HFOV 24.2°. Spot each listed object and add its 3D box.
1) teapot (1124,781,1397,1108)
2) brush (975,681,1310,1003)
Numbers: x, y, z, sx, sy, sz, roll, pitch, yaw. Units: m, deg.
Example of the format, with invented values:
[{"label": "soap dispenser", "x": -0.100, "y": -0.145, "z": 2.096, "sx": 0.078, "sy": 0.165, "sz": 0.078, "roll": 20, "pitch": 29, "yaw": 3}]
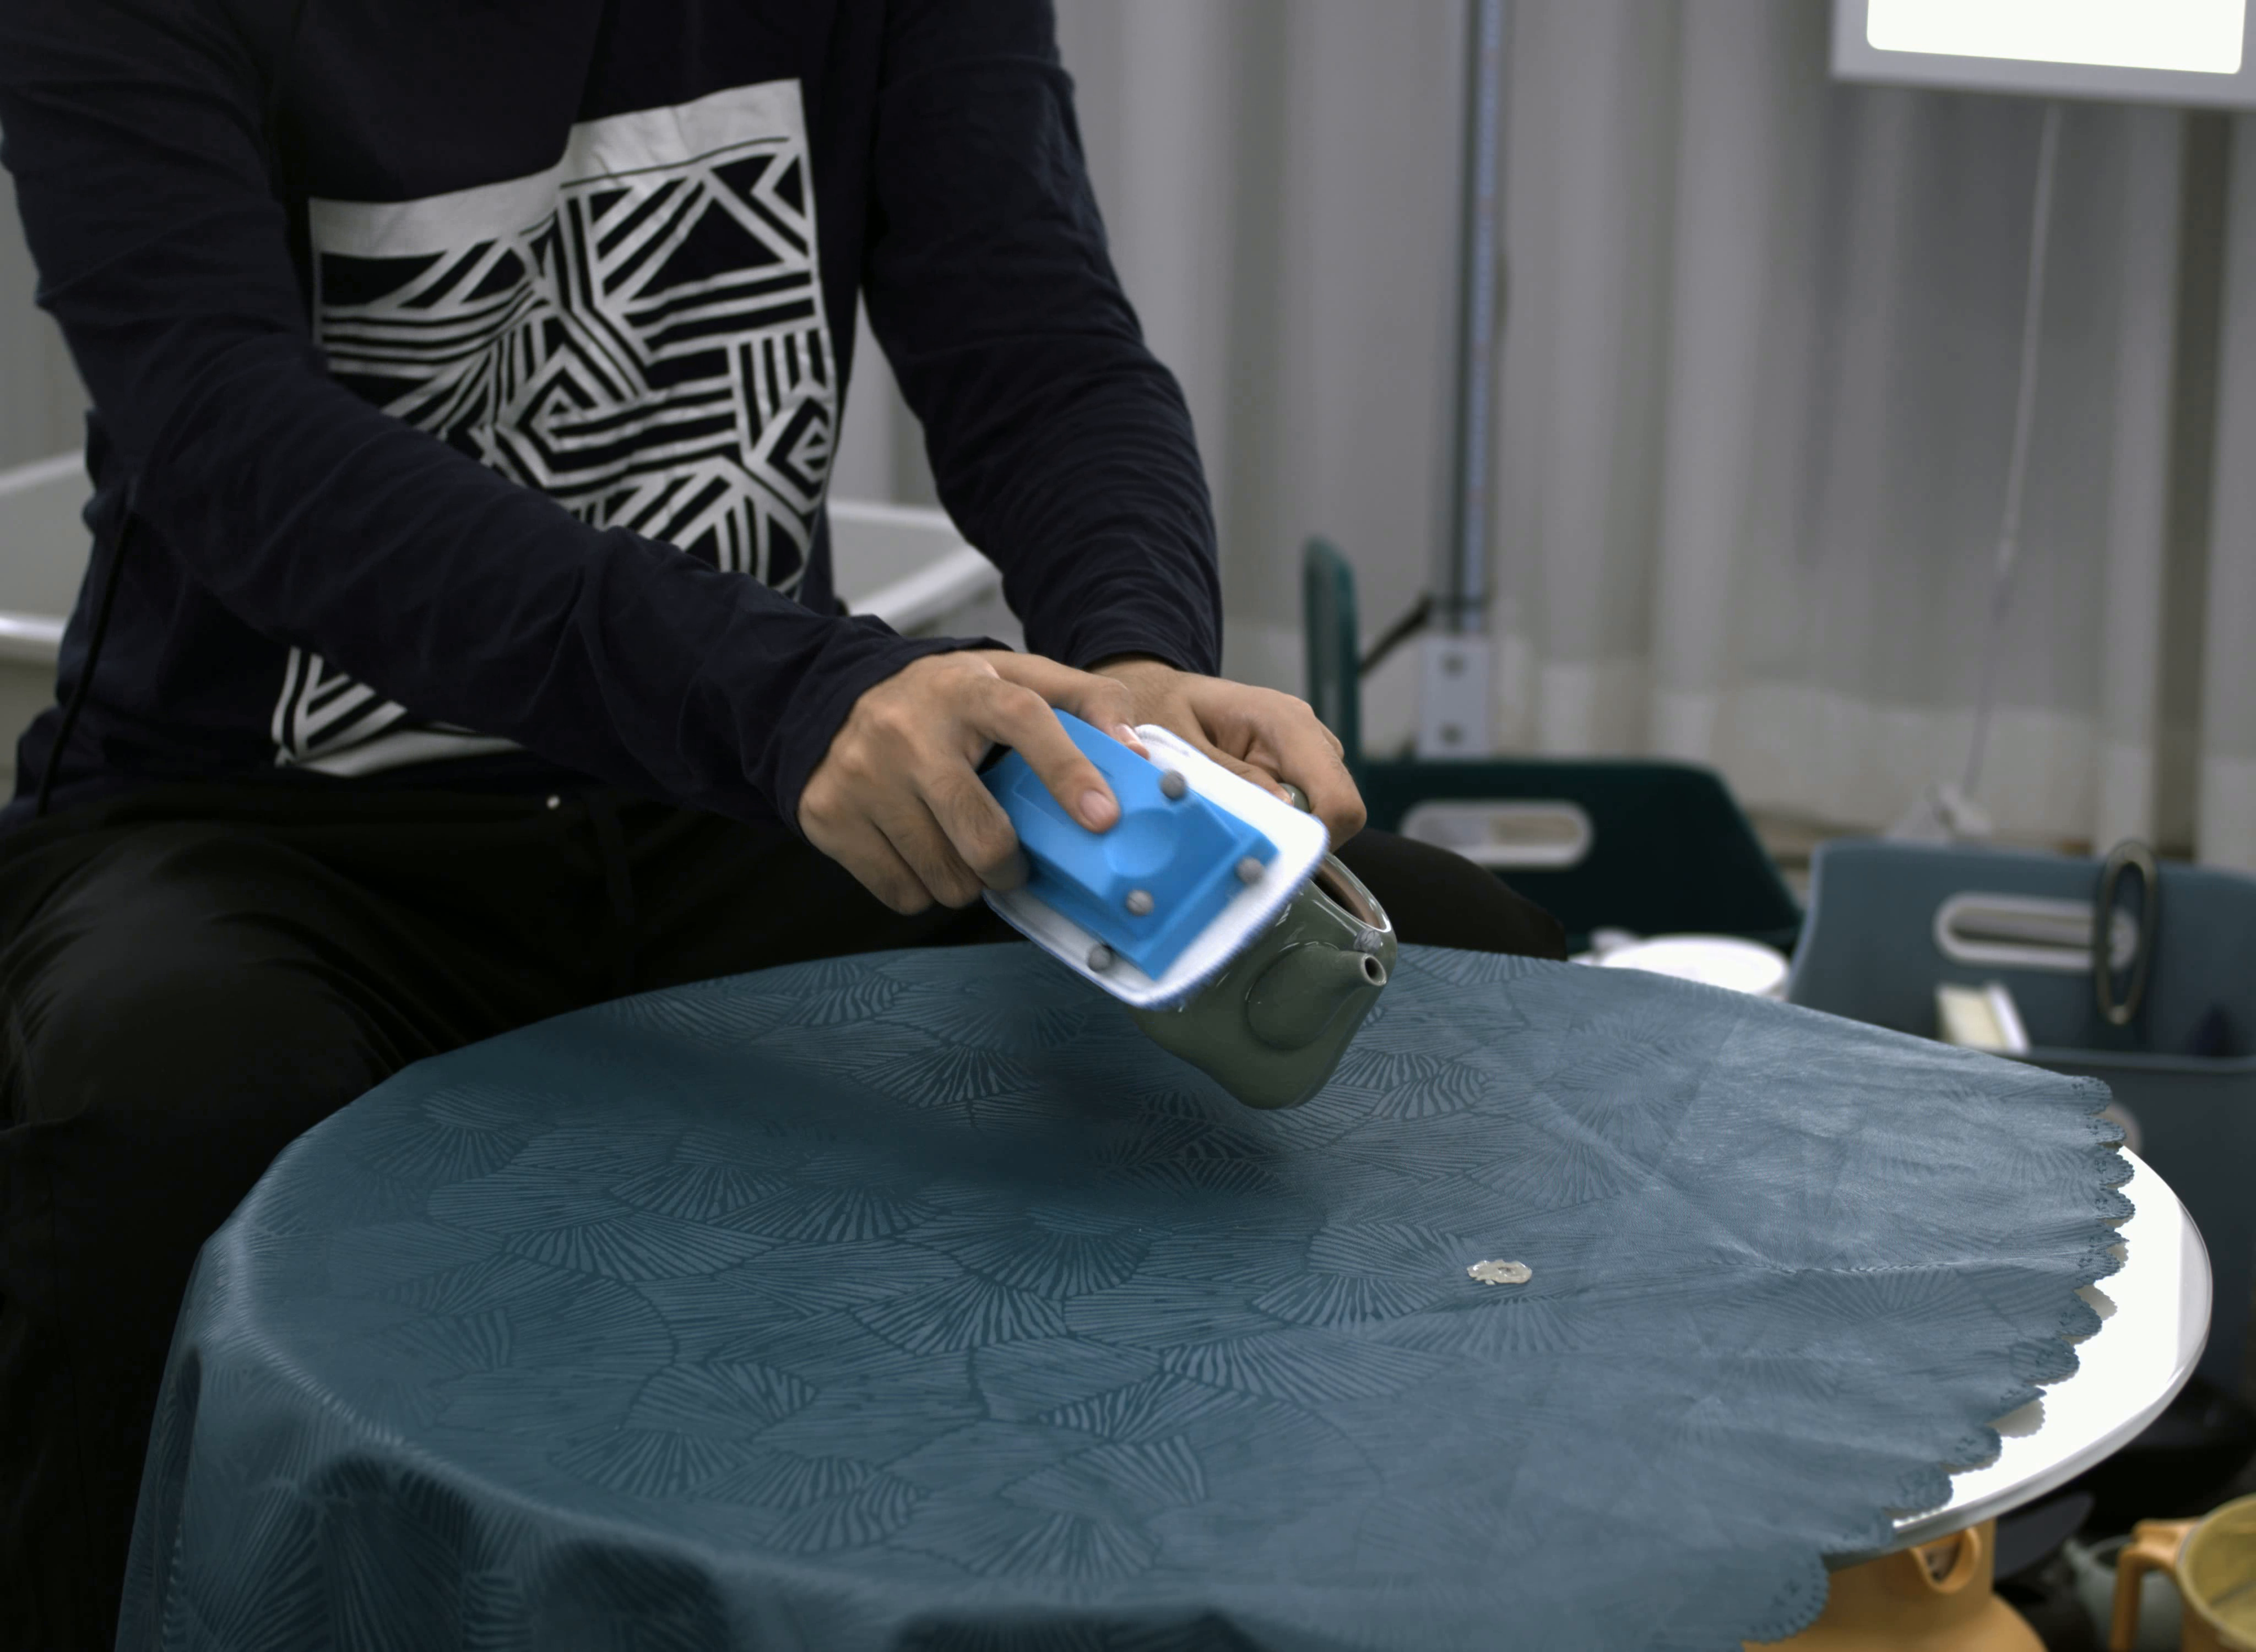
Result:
[{"label": "teapot", "x": 0.041, "y": 0.038, "z": 1.645, "sx": 0.080, "sy": 0.075, "sz": 0.131, "roll": 37, "pitch": 14, "yaw": -26}, {"label": "brush", "x": -0.004, "y": 0.000, "z": 1.627, "sx": 0.084, "sy": 0.056, "sz": 0.142, "roll": -44, "pitch": 30, "yaw": -3}]
